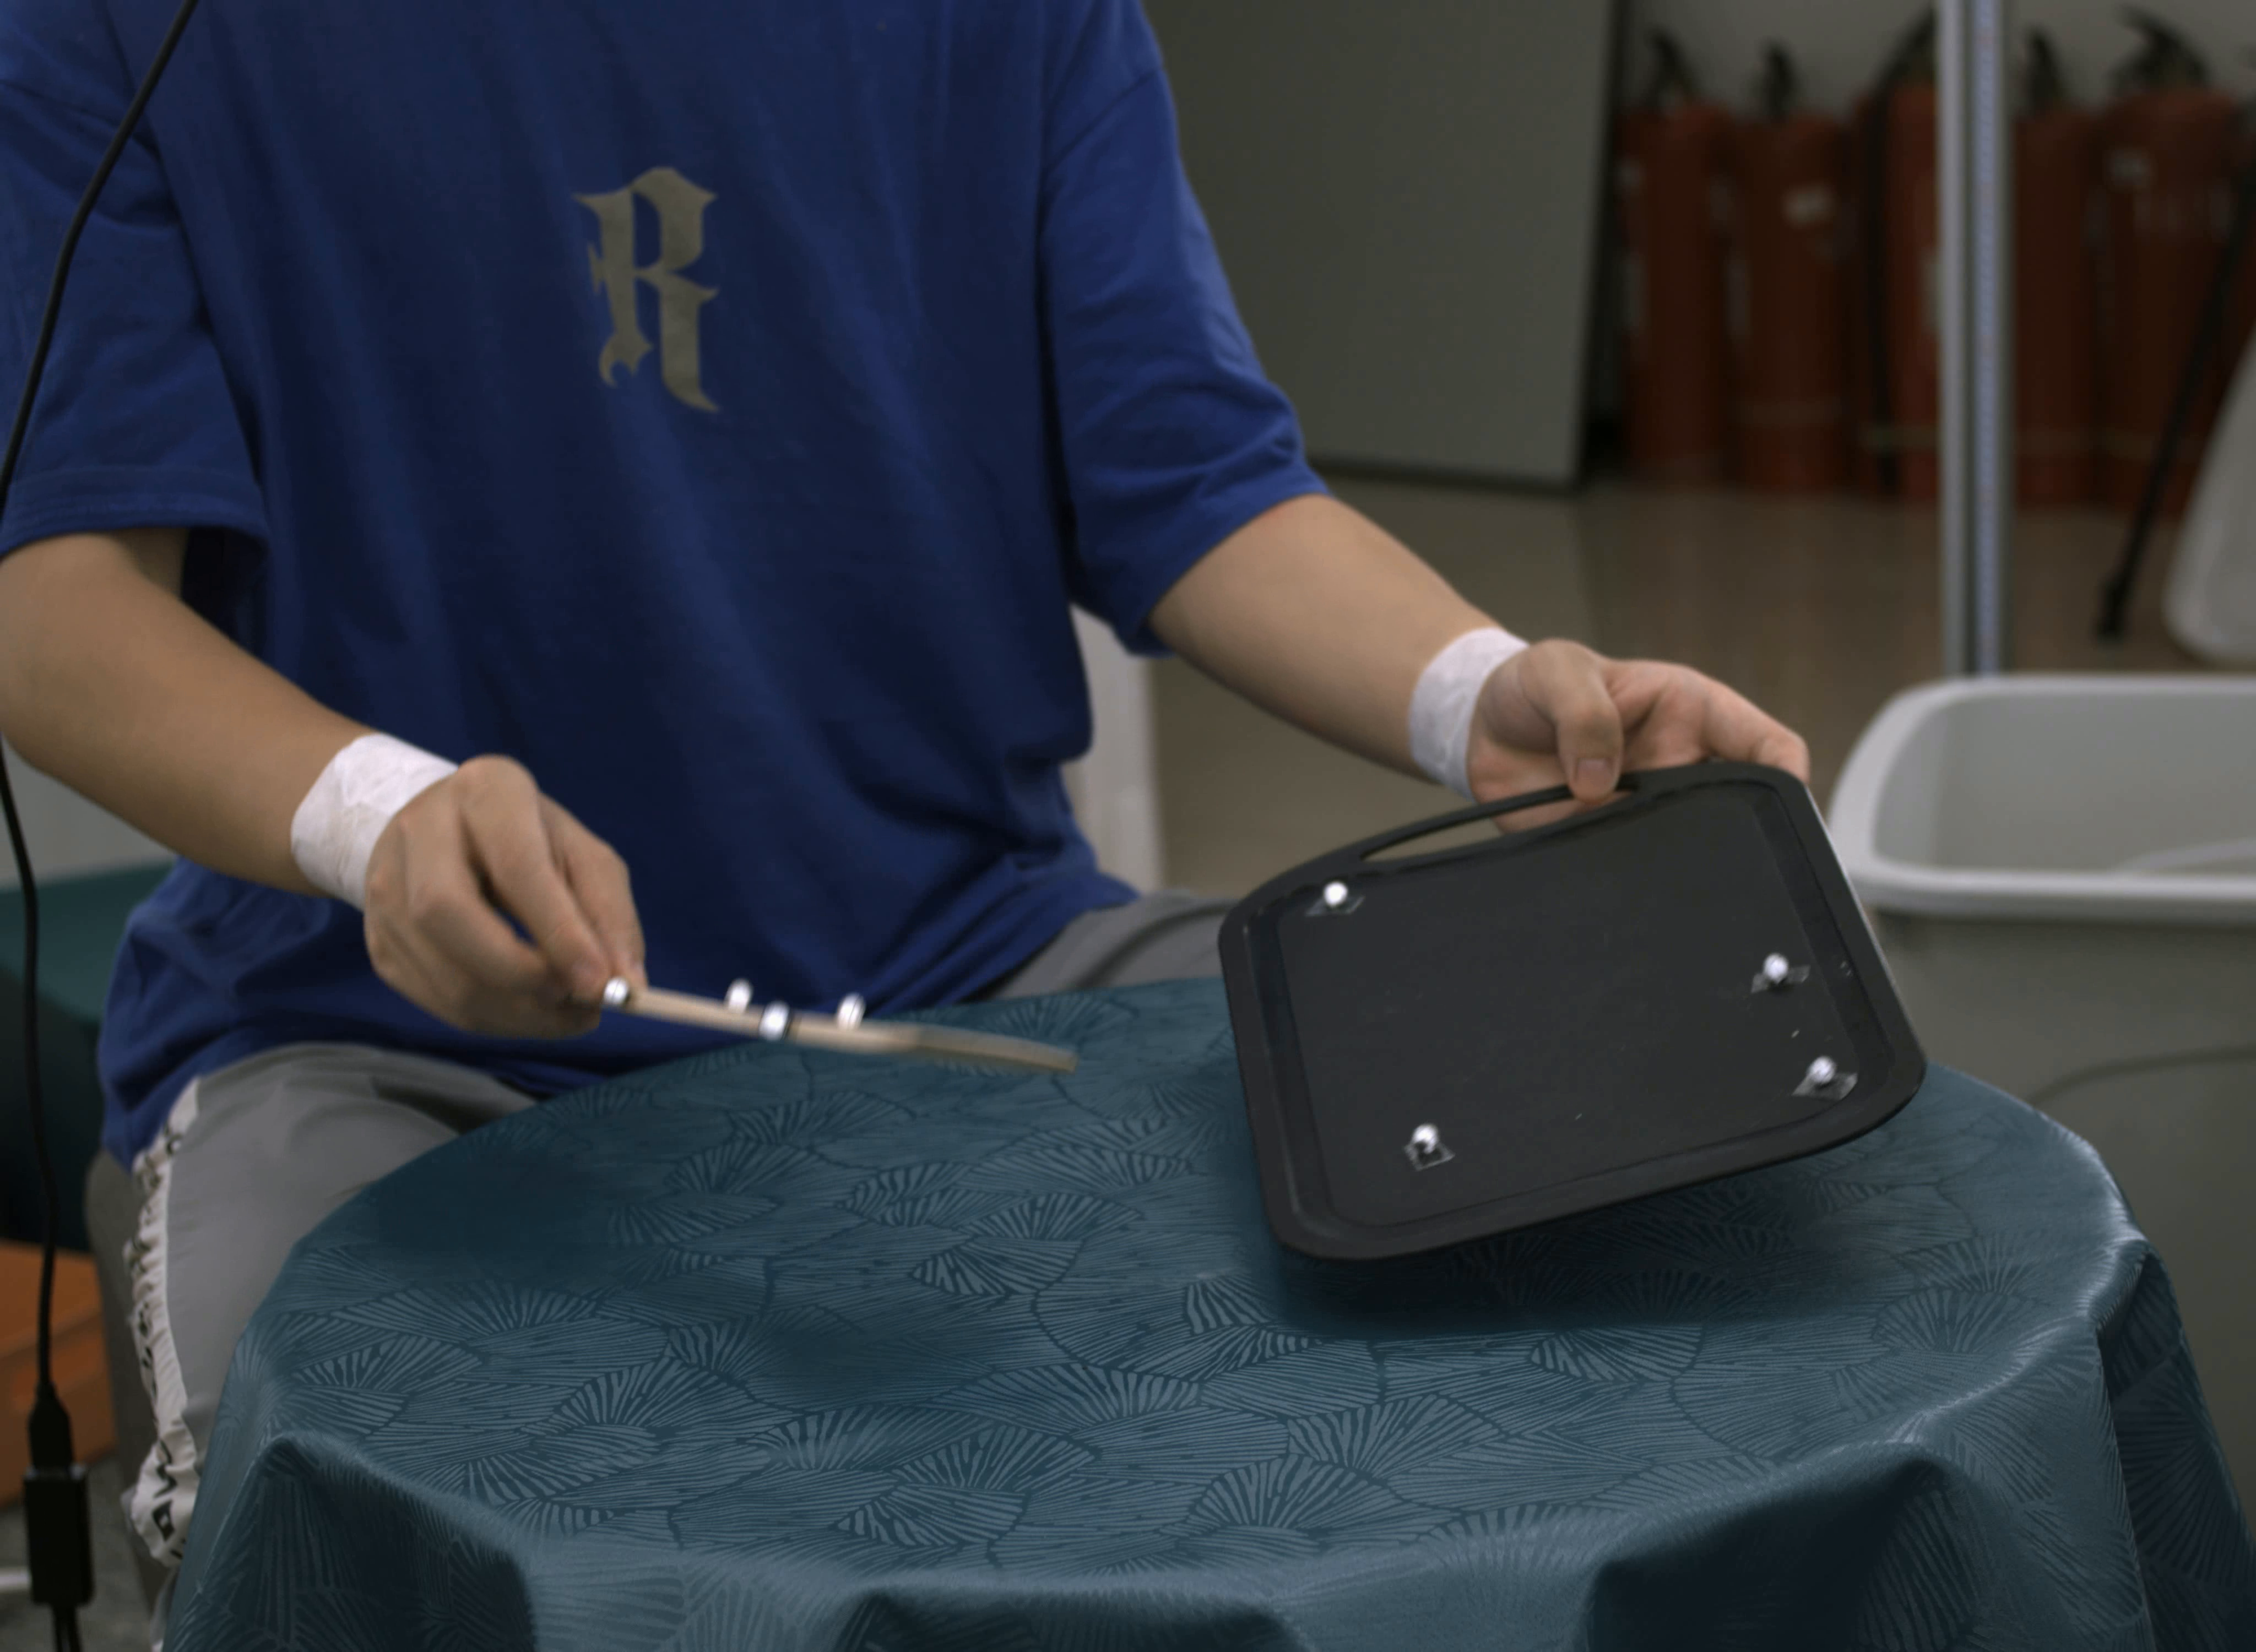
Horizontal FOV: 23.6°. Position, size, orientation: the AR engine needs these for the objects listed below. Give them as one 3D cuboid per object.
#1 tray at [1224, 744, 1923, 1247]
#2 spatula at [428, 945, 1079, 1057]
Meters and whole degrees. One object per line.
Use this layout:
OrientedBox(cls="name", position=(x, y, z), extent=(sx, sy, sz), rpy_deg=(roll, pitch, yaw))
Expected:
OrientedBox(cls="tray", position=(0.136, 0.046, 1.754), extent=(0.209, 0.010, 0.326), rpy_deg=(-16, 22, 4))
OrientedBox(cls="spatula", position=(-0.134, 0.054, 1.714), extent=(0.070, 0.011, 0.296), rpy_deg=(13, -5, -41))
